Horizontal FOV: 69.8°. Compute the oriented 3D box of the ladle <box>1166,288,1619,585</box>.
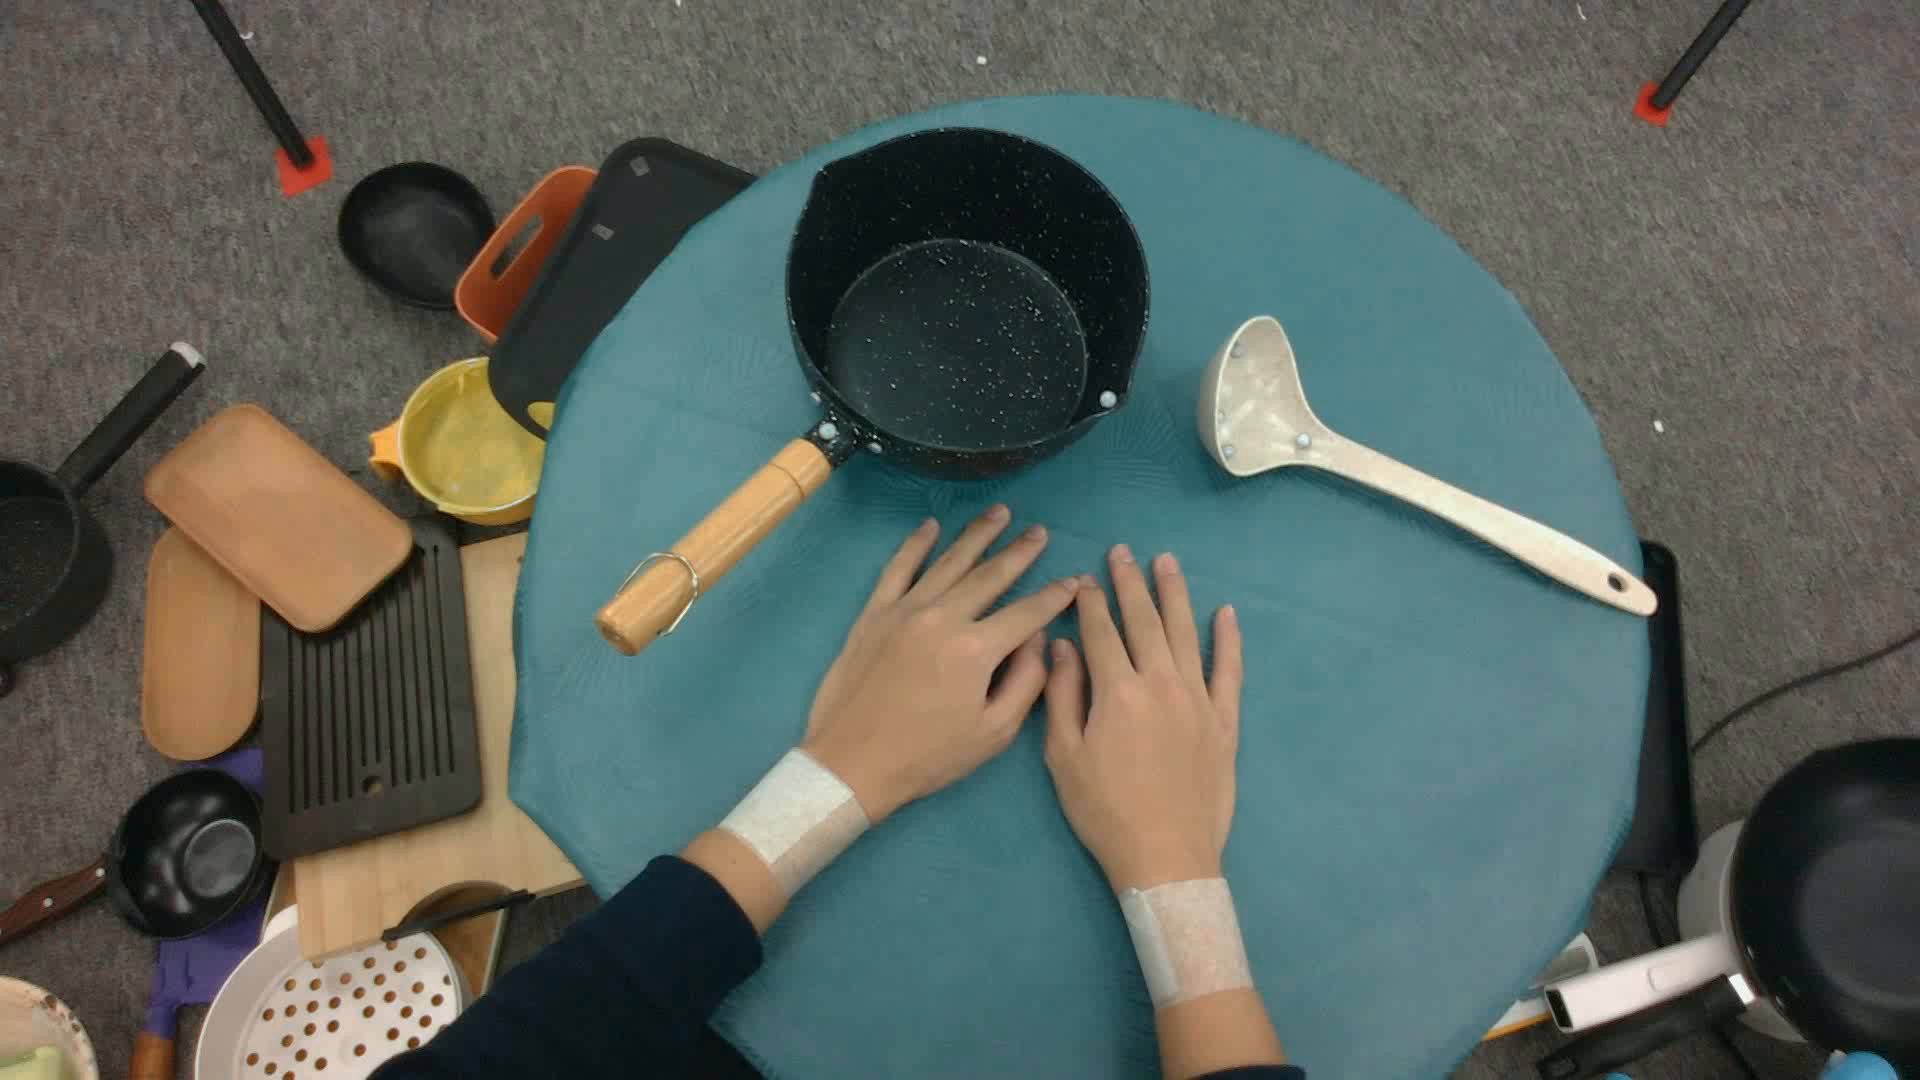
[{"bbox_3d":[0.239,-0.048,0.731,0.275,0.069,0.090,24,64,3],"label":"ladle"}]

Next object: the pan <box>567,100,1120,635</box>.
[{"bbox_3d":[-0.061,-0.072,0.690,0.207,0.108,0.344,37,71,6],"label":"pan"}]
